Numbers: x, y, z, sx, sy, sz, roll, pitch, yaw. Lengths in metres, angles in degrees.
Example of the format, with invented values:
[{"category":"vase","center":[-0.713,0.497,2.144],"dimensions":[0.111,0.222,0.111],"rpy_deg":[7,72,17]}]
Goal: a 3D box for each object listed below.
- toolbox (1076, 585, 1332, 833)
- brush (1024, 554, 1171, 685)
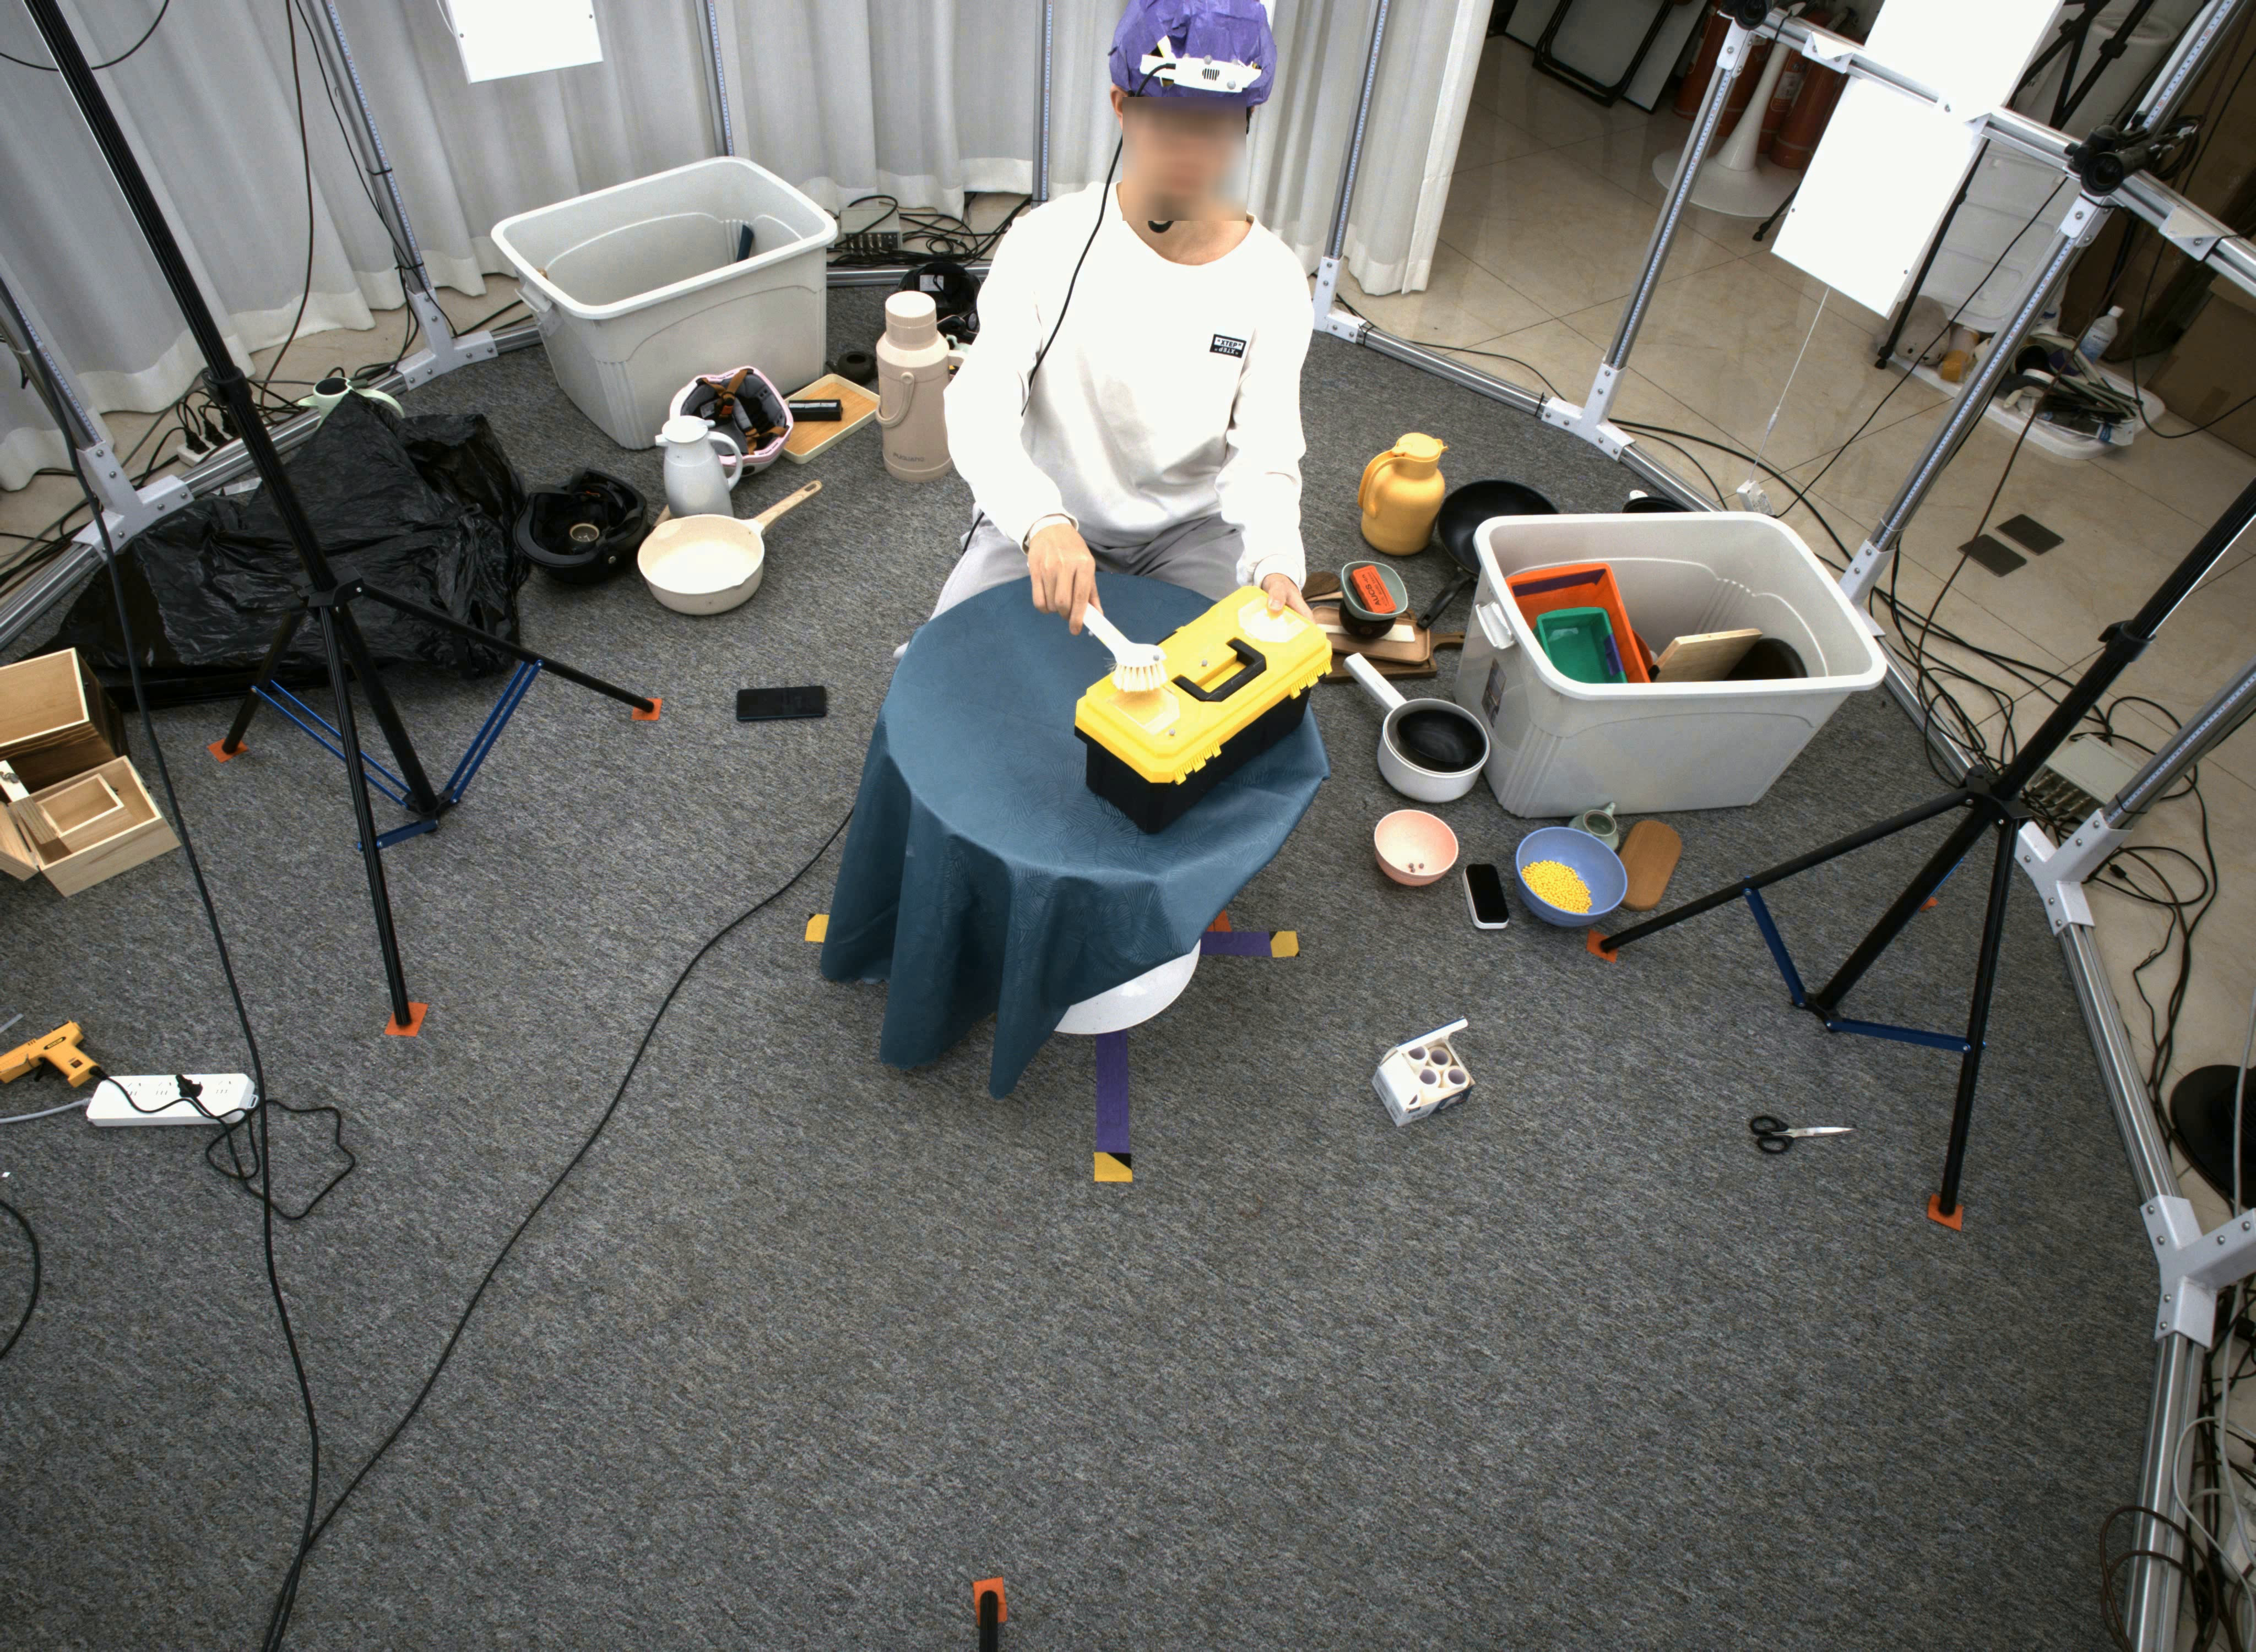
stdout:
[{"category":"toolbox","center":[0.098,-0.157,1.696],"dimensions":[0.184,0.168,0.355],"rpy_deg":[38,56,25]},{"category":"brush","center":[-0.046,-0.258,1.626],"dimensions":[0.069,0.055,0.271],"rpy_deg":[-20,49,-40]}]
